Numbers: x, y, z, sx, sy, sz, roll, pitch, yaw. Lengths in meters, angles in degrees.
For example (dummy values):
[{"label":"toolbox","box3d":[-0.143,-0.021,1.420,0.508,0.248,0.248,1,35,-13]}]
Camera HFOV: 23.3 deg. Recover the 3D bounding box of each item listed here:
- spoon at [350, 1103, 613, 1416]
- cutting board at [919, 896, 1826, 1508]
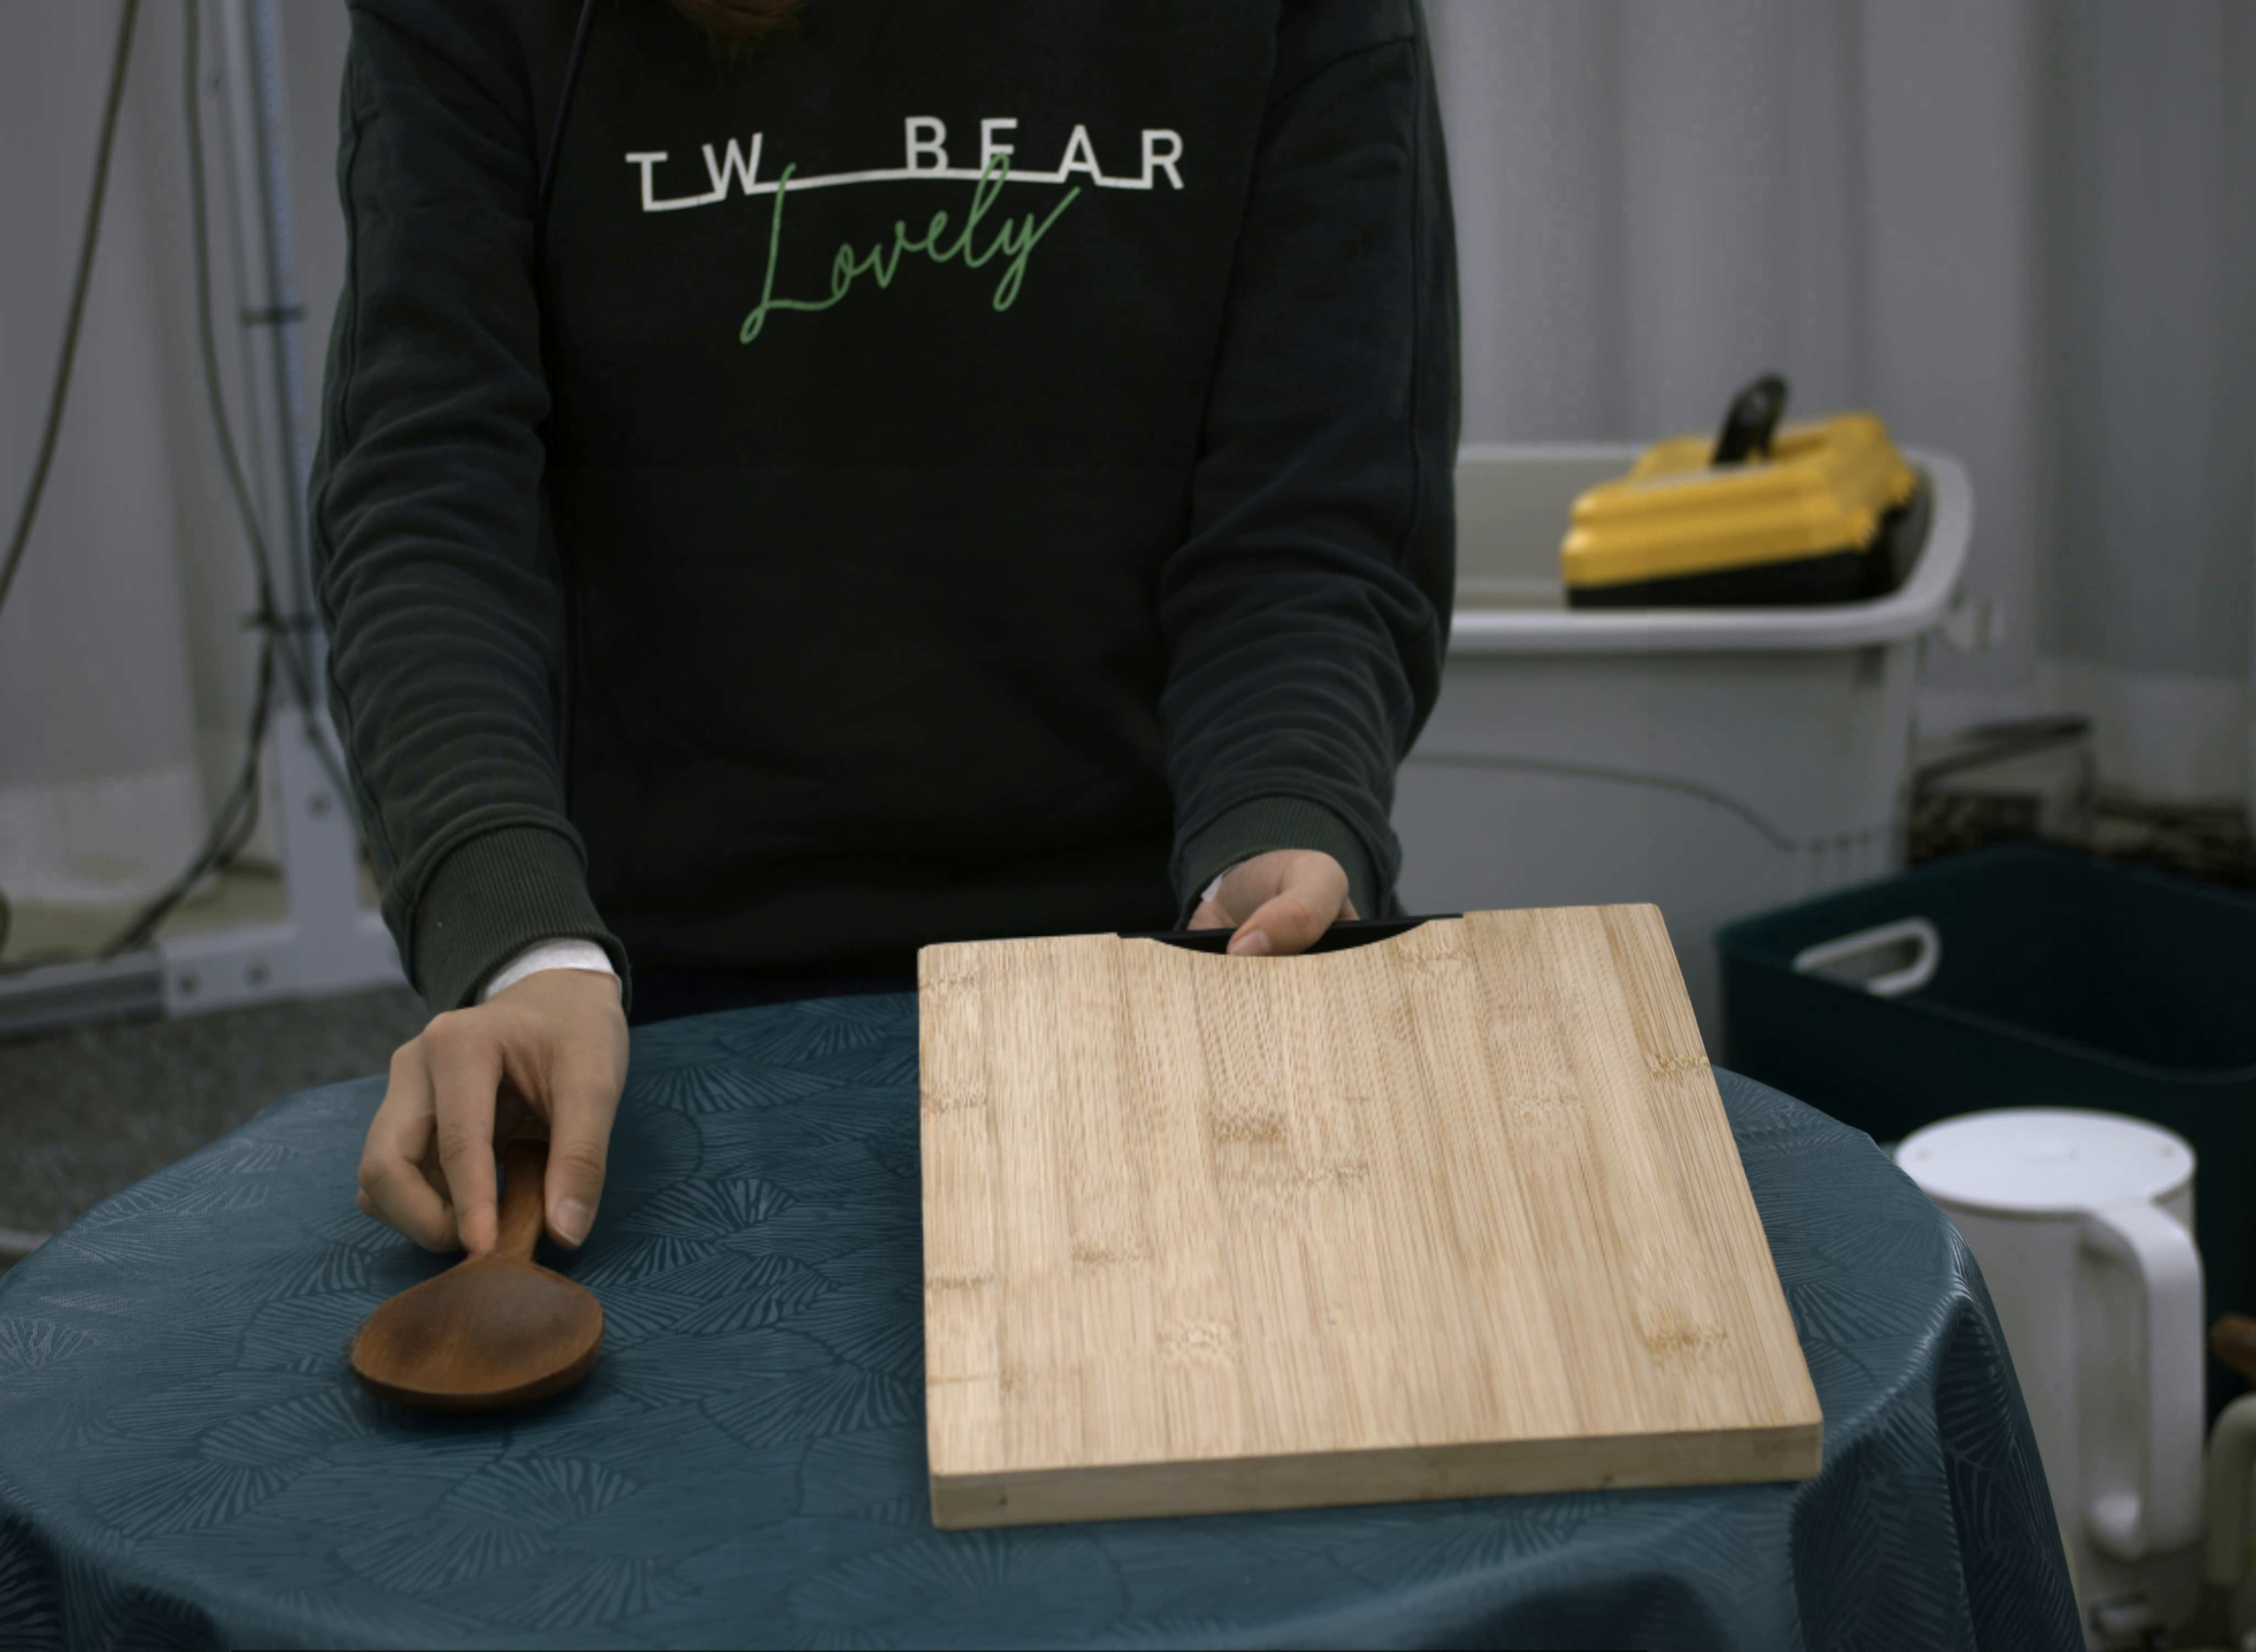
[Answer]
[{"label":"spoon","box3d":[-0.184,0.130,1.636,0.075,0.017,0.218,-4,19,3]},{"label":"cutting board","box3d":[0.060,0.105,1.613,0.250,0.023,0.352,-3,23,-2]}]
